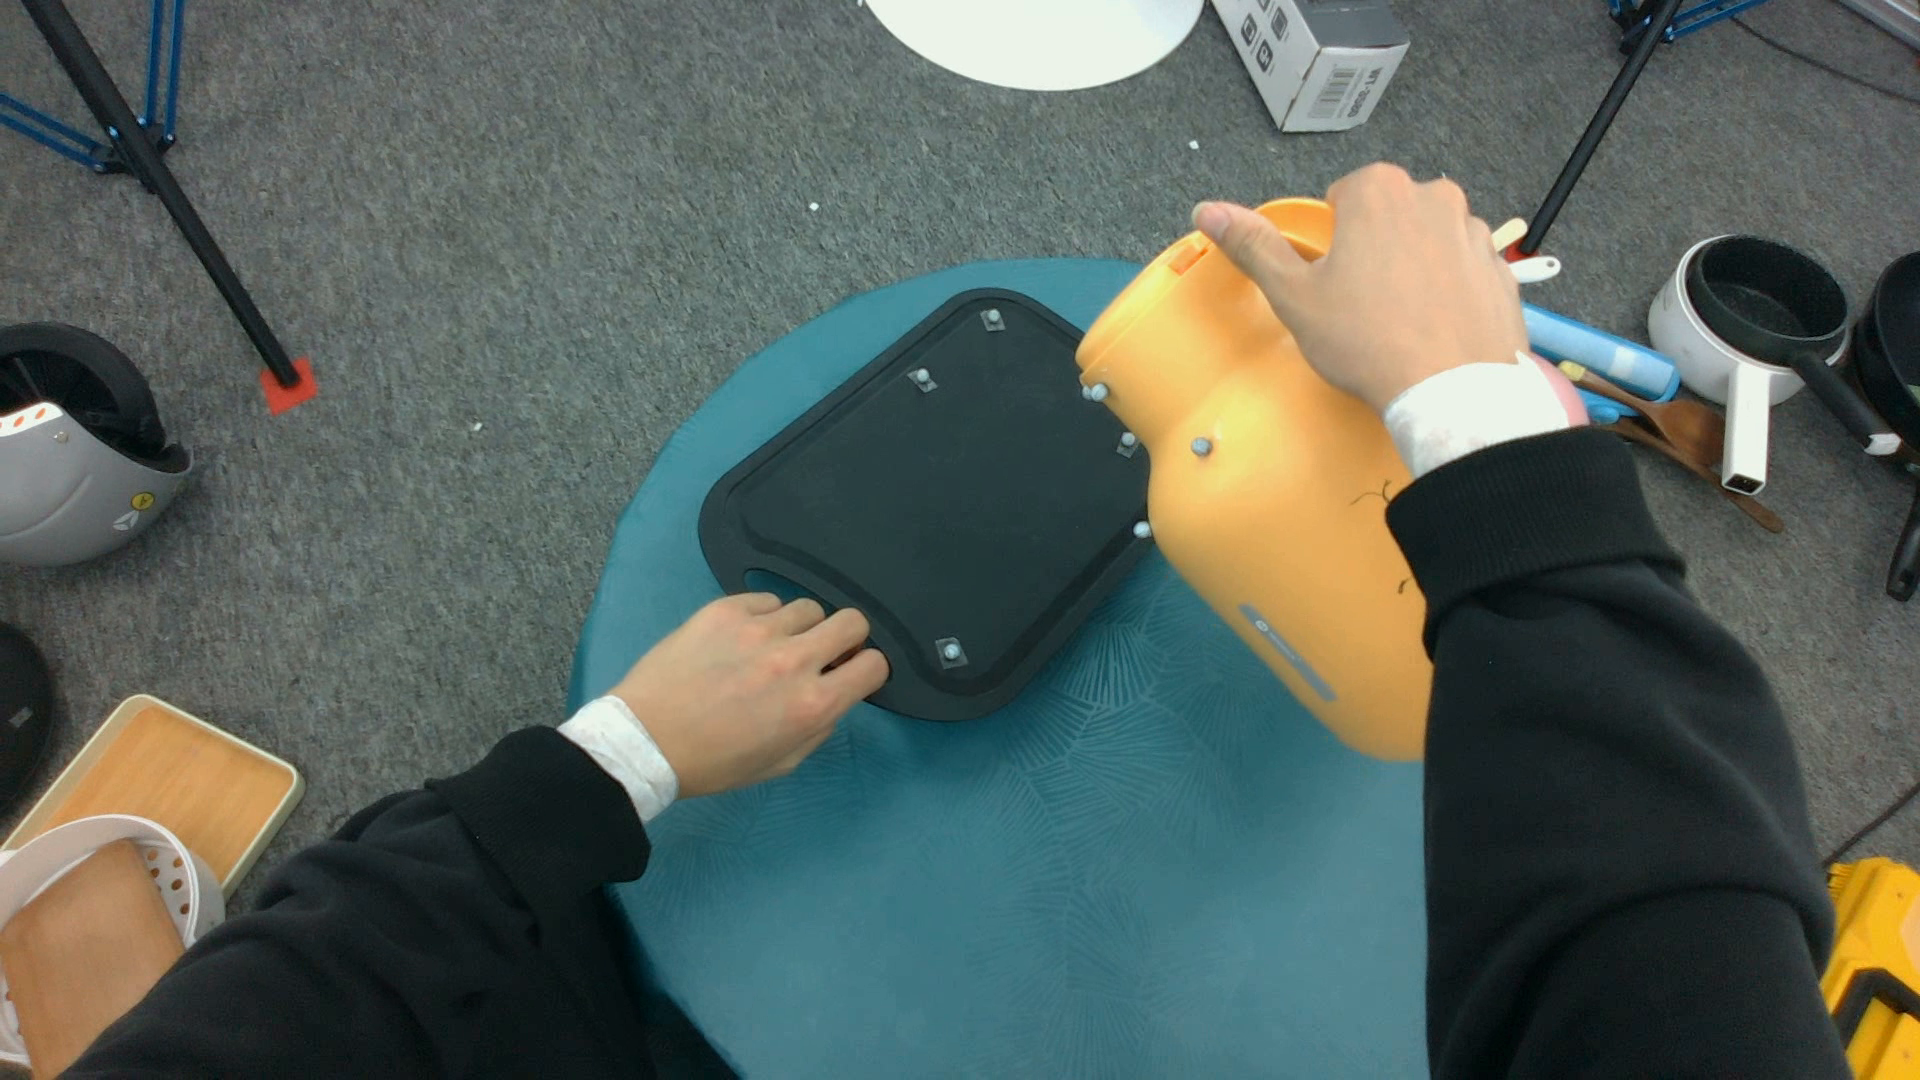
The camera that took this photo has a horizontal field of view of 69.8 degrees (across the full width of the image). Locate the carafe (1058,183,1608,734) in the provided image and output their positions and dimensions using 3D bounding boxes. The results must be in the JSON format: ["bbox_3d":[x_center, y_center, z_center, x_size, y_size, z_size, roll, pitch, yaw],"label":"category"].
[{"bbox_3d":[0.171,-0.045,0.642,0.260,0.201,0.164,42,66,-1],"label":"carafe"}]

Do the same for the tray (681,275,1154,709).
[{"bbox_3d":[-0.003,-0.040,0.804,0.211,0.010,0.327,36,53,14],"label":"tray"}]
